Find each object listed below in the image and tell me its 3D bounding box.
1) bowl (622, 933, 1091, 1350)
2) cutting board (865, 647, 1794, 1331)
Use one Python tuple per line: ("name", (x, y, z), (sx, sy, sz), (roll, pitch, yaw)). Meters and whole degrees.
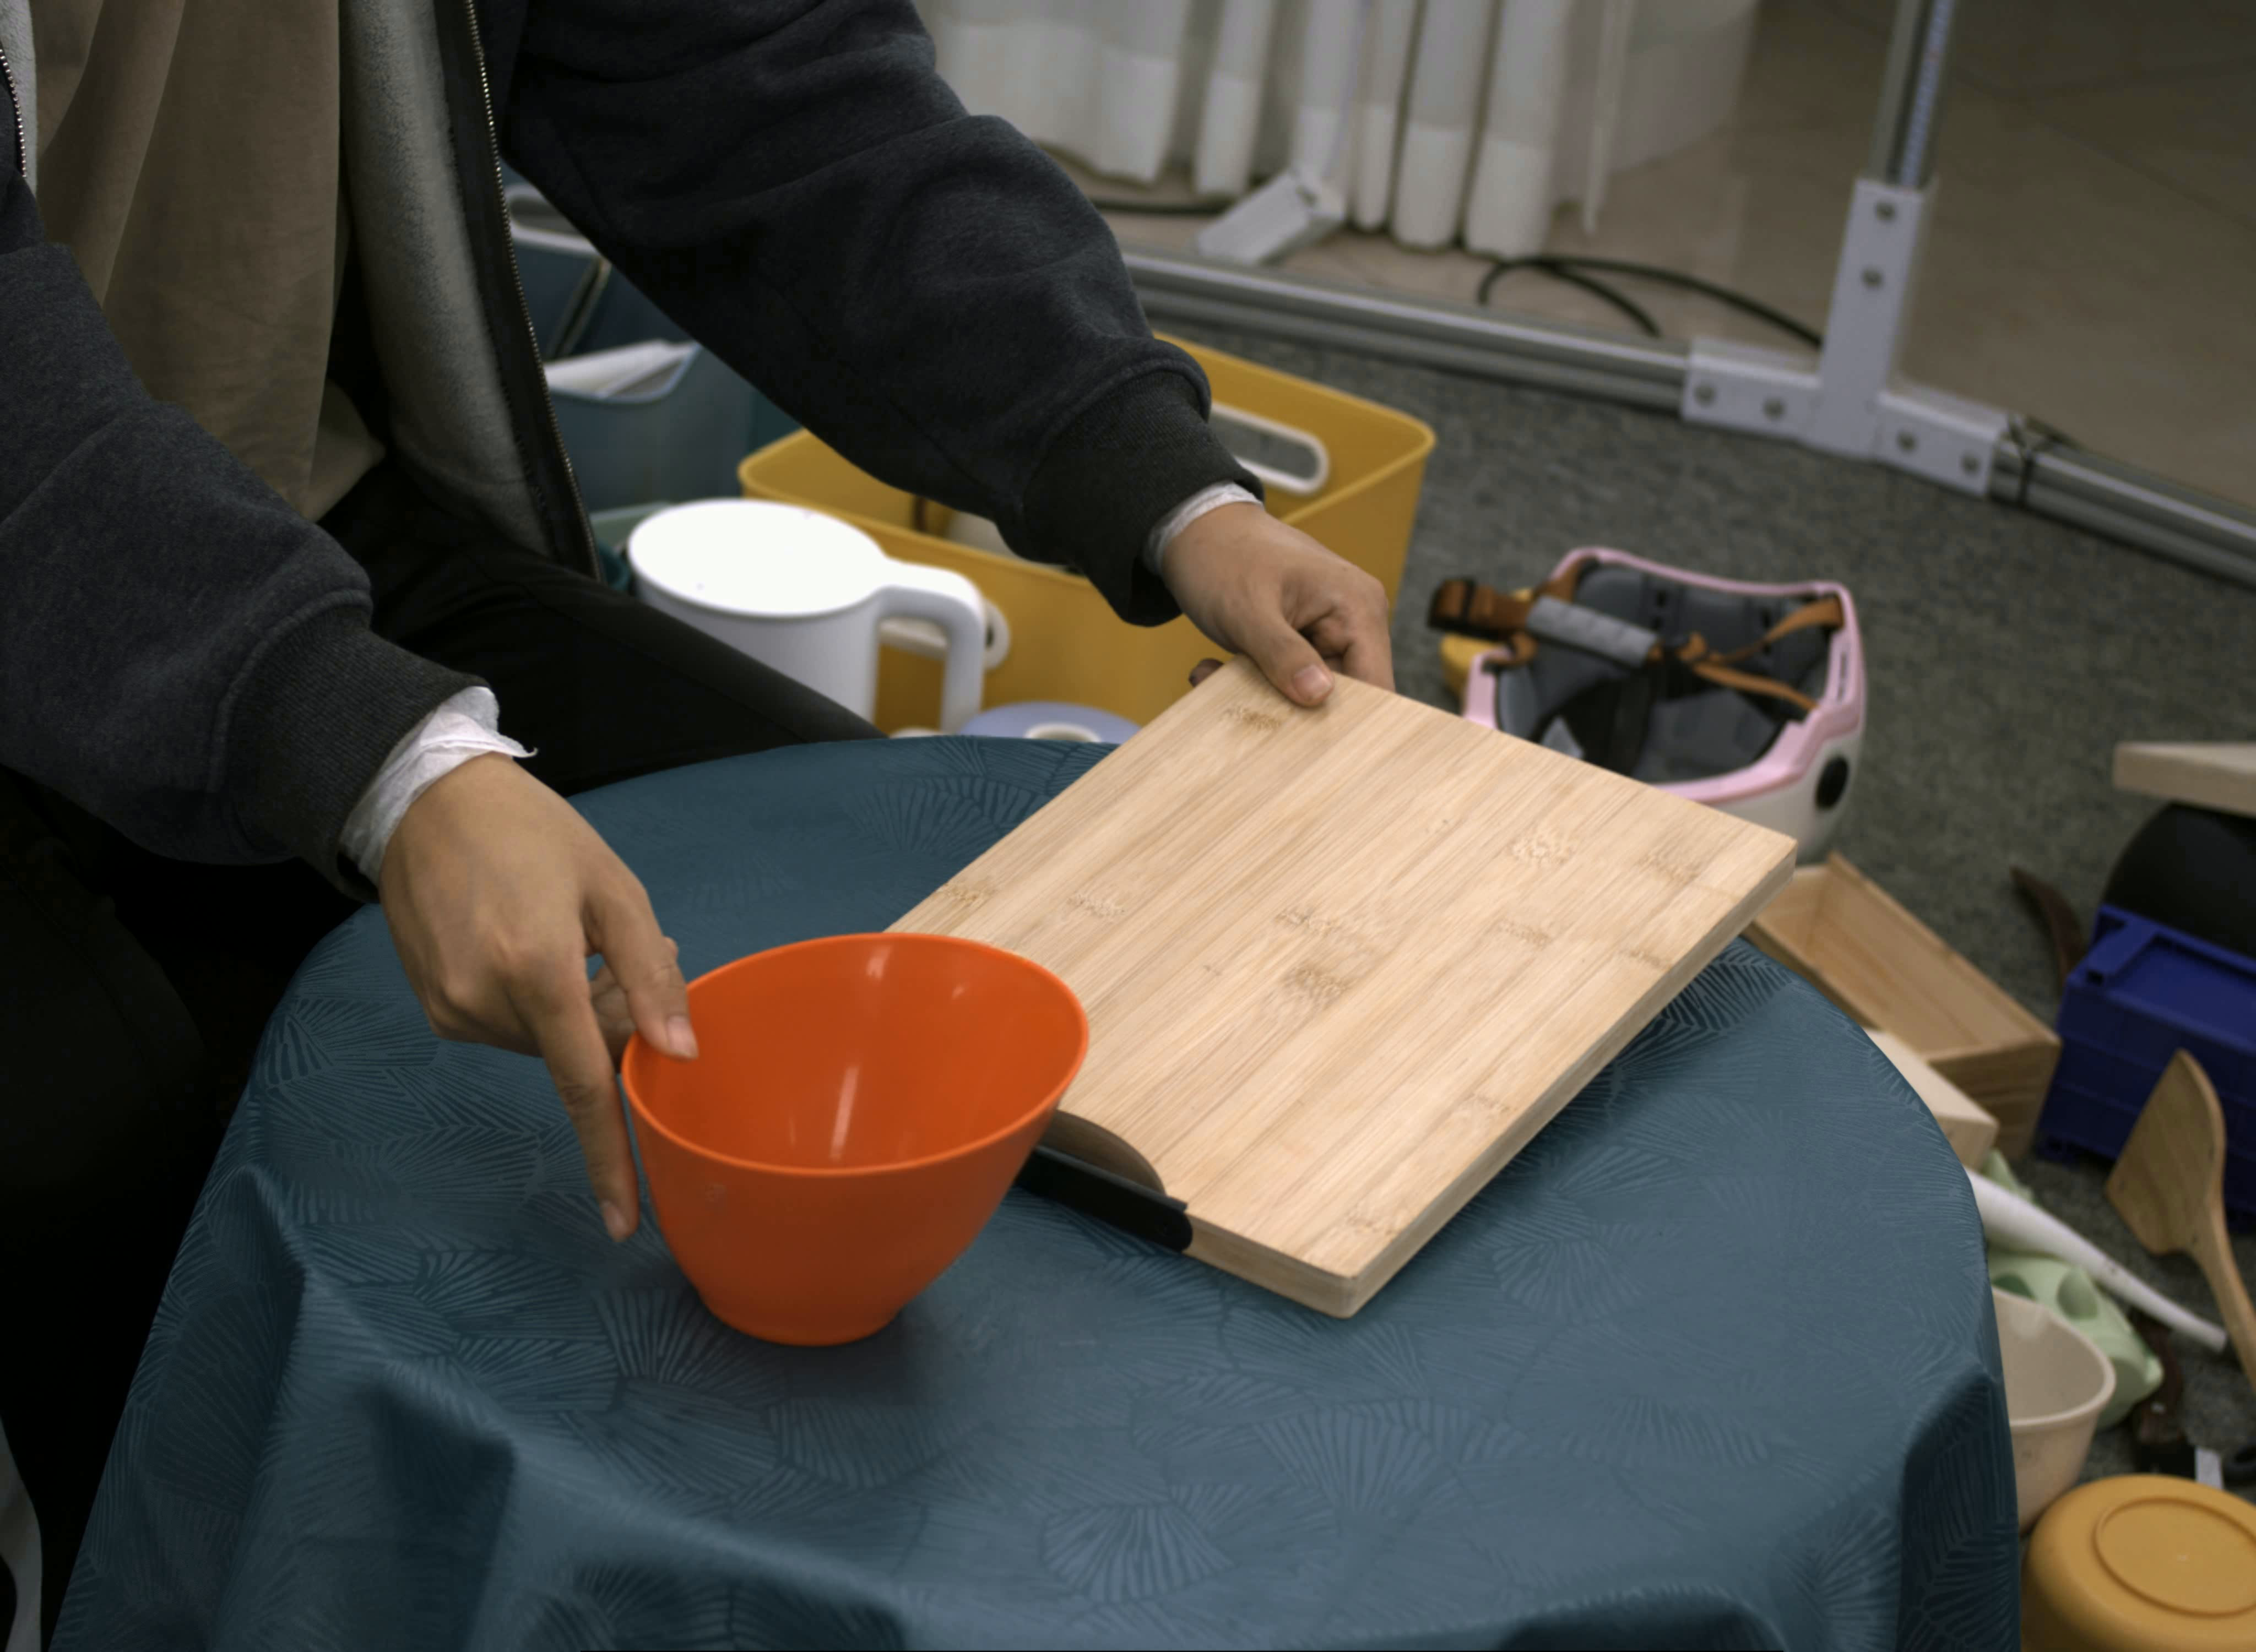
("bowl", (-0.090, 0.107, 1.702), (0.147, 0.104, 0.149), (5, 28, -3))
("cutting board", (0.056, 0.049, 1.909), (0.252, 0.023, 0.348), (20, 35, 25))
